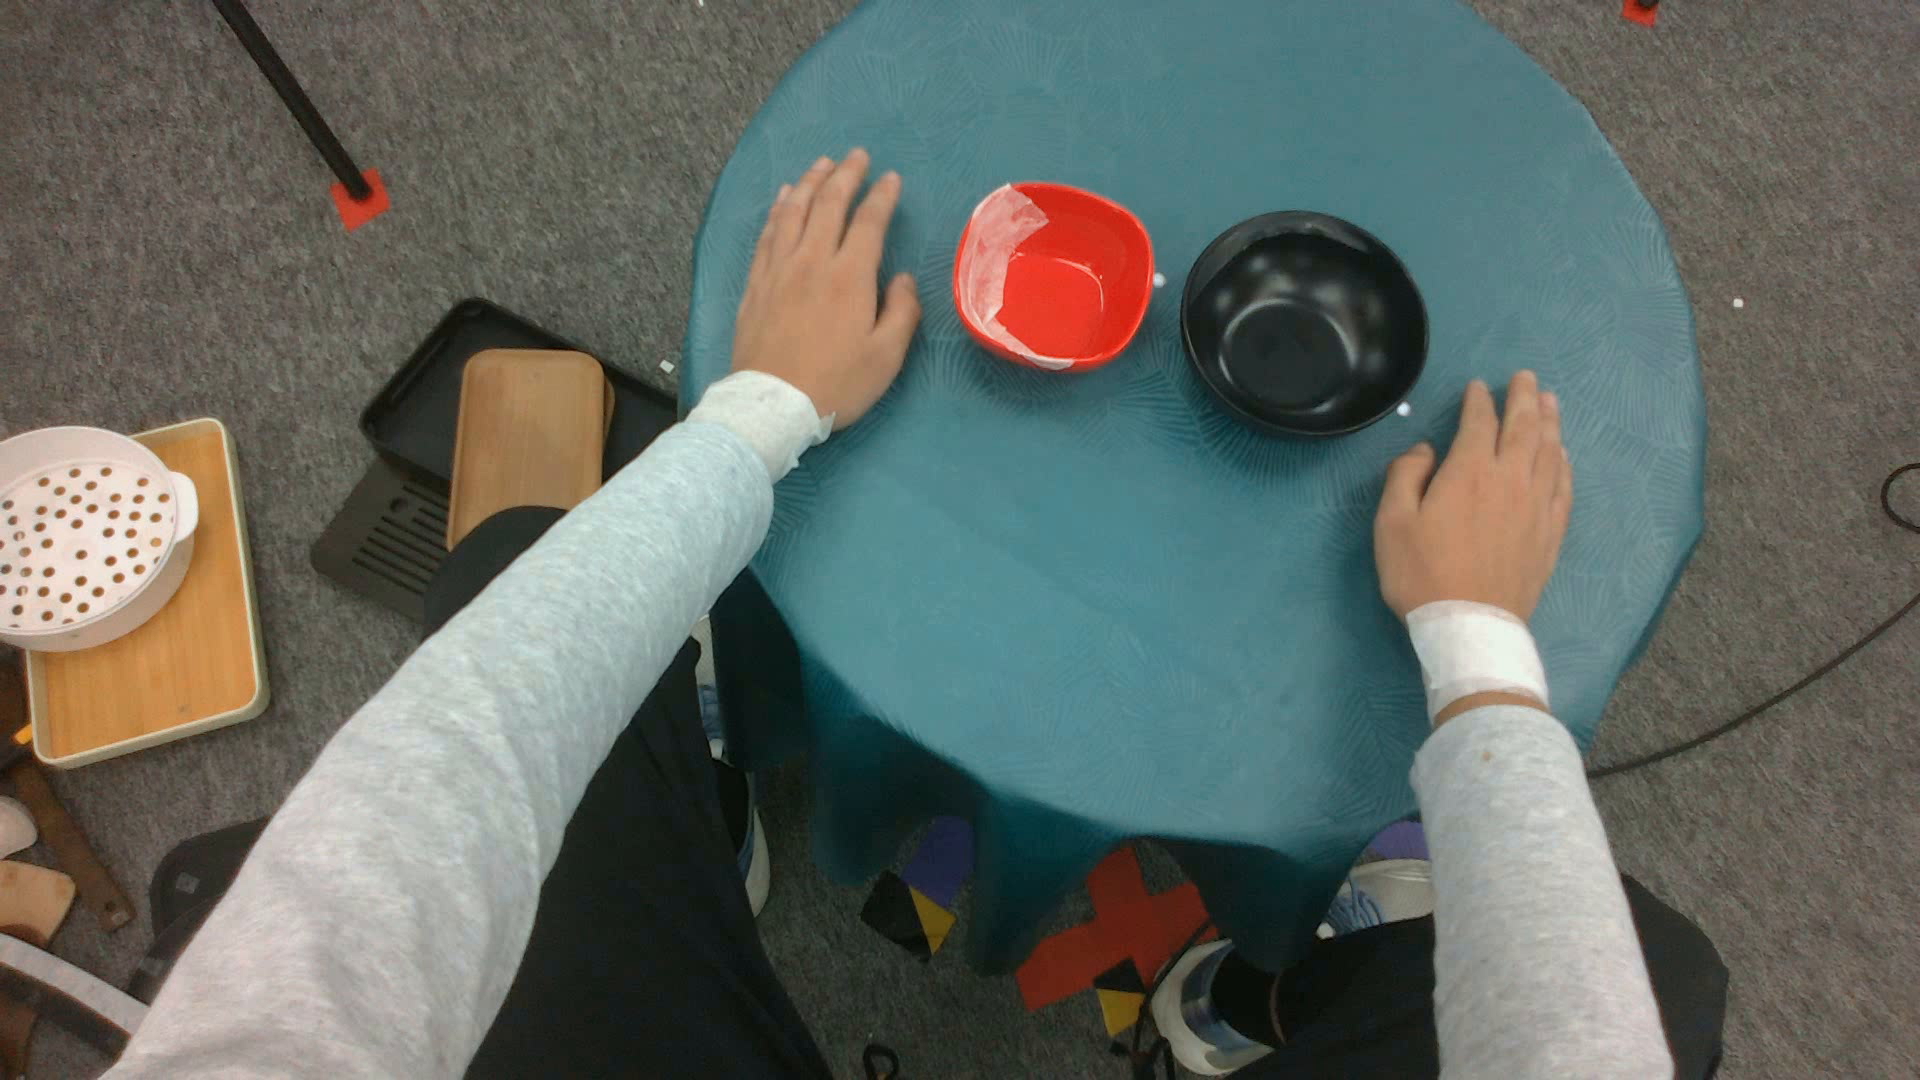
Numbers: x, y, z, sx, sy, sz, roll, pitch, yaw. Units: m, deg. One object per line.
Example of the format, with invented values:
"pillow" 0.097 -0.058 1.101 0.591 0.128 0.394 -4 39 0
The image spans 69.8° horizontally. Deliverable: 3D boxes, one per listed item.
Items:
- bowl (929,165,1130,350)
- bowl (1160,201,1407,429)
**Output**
"bowl" 0.036 -0.151 0.782 0.119 0.051 0.119 2 67 -6
"bowl" 0.179 -0.121 0.787 0.140 0.049 0.140 1 71 -2
